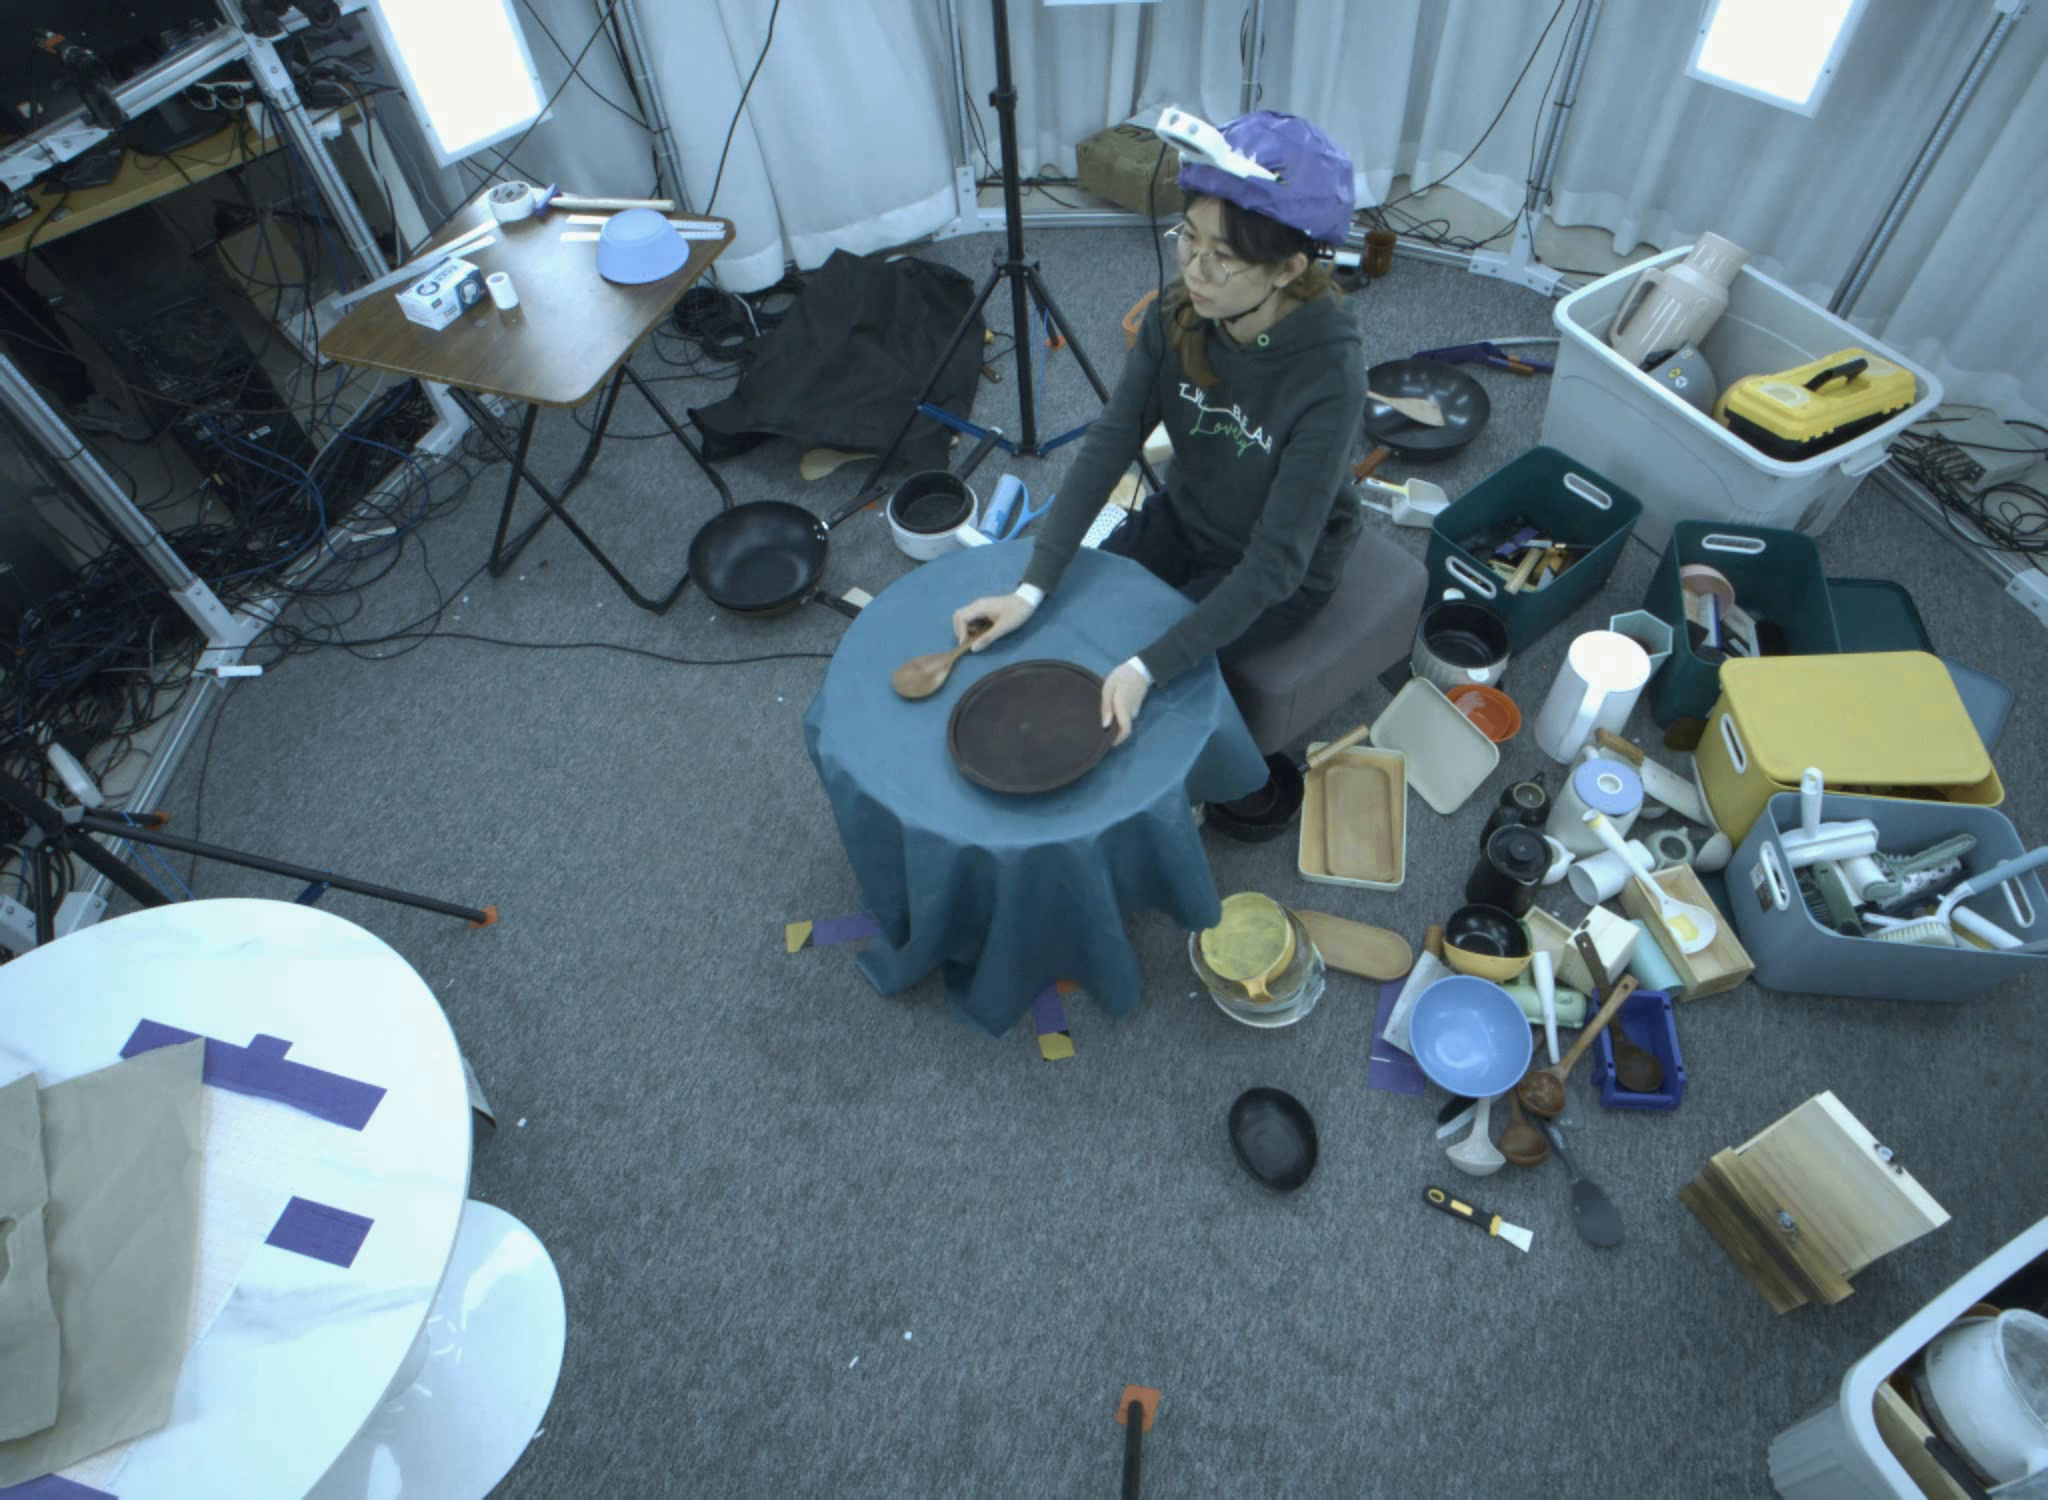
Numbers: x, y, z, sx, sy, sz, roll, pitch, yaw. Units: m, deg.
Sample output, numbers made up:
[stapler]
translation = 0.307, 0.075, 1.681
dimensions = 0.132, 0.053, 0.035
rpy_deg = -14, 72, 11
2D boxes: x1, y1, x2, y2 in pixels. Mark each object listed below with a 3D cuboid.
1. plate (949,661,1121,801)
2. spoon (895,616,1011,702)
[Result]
[plate]
translation = 0.016, -0.028, 1.787
dimensions = 0.254, 0.029, 0.252
rpy_deg = -4, 53, 7
[spoon]
translation = -0.105, -0.141, 1.887
dimensions = 0.217, 0.017, 0.074
rpy_deg = -38, 62, -20
